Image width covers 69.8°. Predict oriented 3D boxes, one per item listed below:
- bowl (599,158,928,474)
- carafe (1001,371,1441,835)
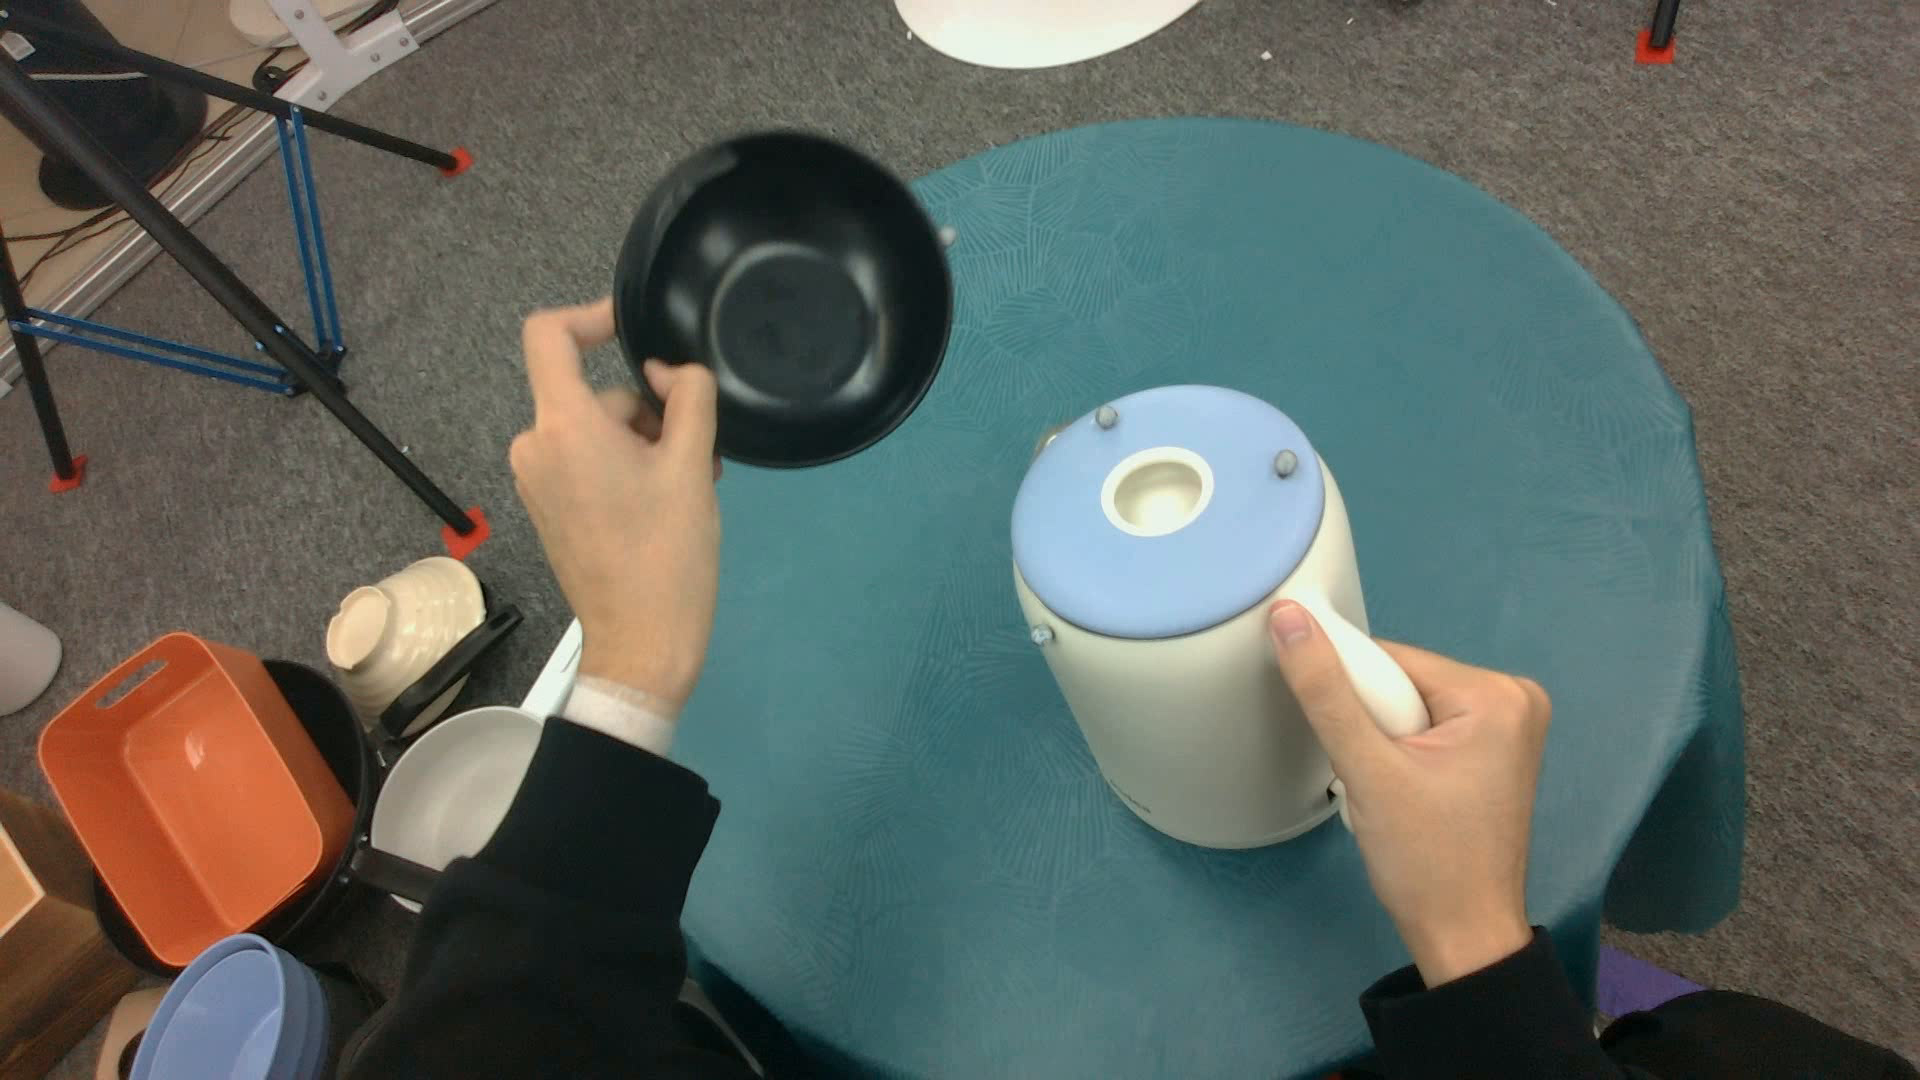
[{"bbox_3d":[-0.084,-0.093,0.605,0.140,0.049,0.140,0,81,-3],"label":"bowl"},{"bbox_3d":[0.111,0.042,0.563,0.132,0.182,0.191,-43,53,-14],"label":"carafe"}]
